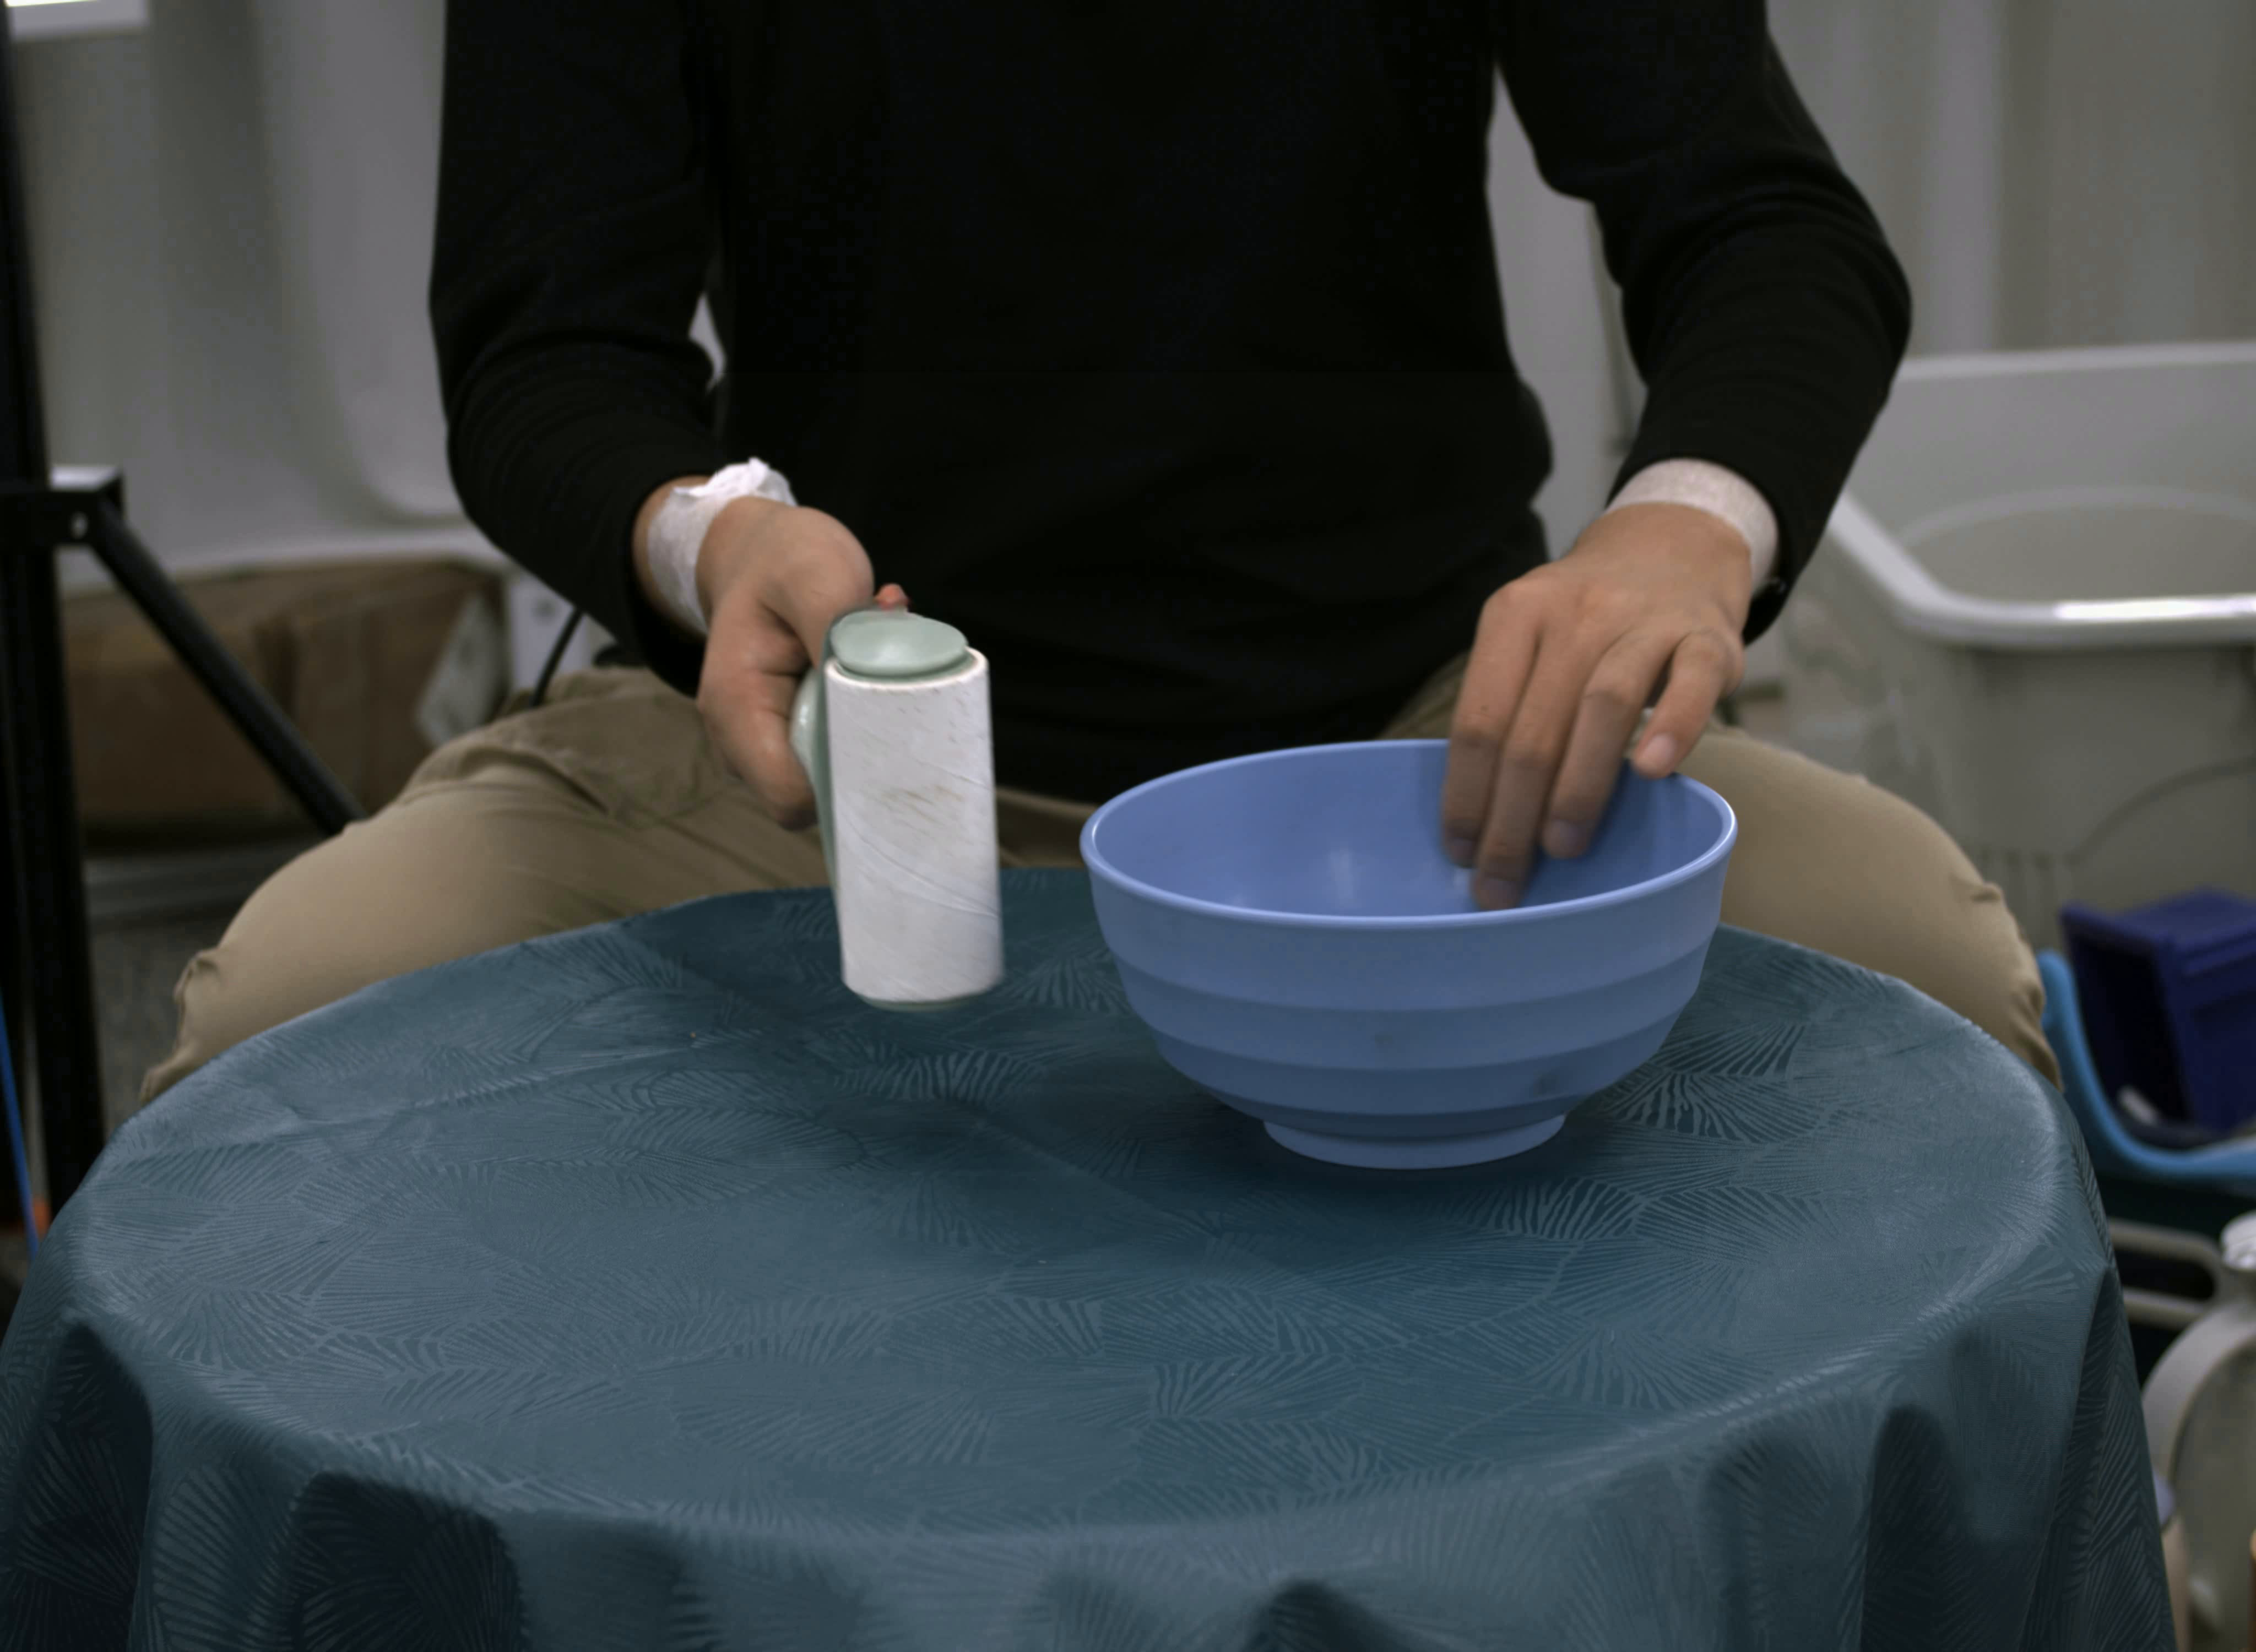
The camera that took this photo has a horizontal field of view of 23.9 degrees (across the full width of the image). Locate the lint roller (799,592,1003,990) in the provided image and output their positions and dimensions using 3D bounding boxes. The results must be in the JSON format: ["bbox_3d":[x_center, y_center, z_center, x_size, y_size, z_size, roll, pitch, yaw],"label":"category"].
[{"bbox_3d":[-0.078,-0.031,1.657,0.048,0.116,0.200,-7,19,-10],"label":"lint roller"}]

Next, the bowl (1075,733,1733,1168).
[{"bbox_3d":[0.084,0.043,1.593,0.195,0.095,0.197,-4,16,0],"label":"bowl"}]
